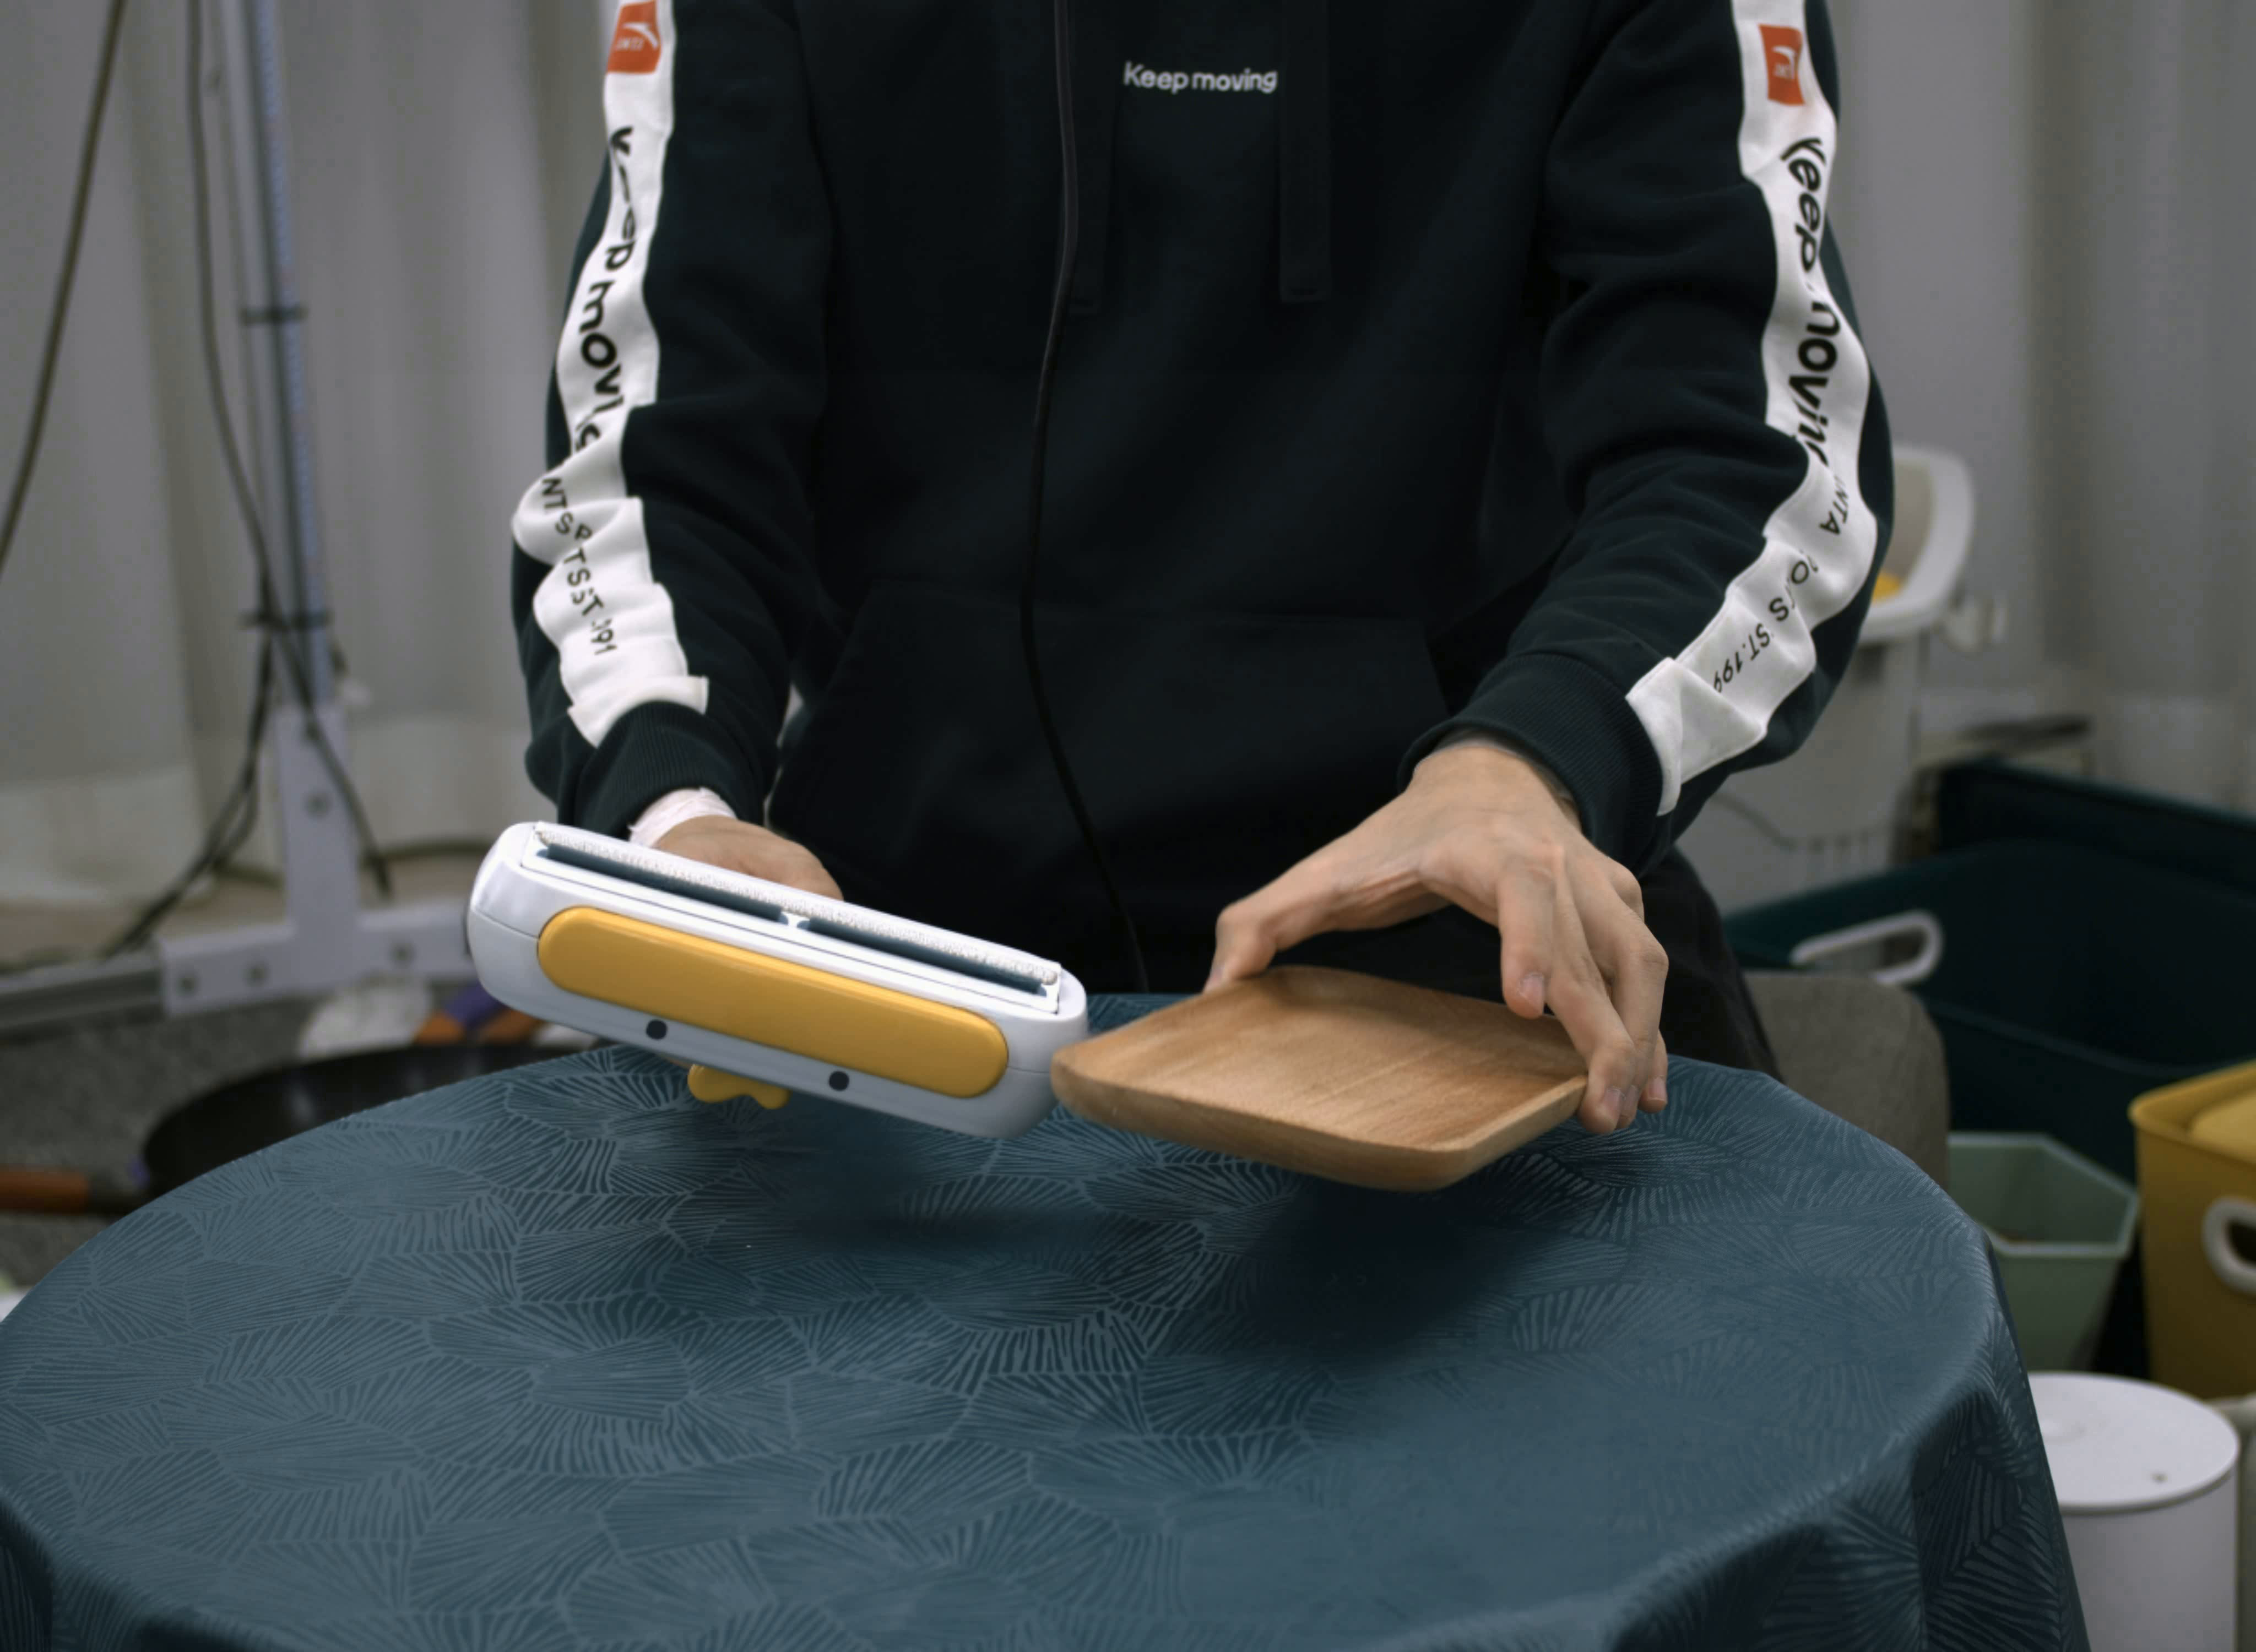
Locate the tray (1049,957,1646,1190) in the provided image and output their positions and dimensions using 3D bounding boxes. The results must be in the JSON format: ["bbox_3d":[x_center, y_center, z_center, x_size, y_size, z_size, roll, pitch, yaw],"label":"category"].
[{"bbox_3d":[0.069,0.073,1.647,0.131,0.023,0.250,16,10,18],"label":"tray"}]

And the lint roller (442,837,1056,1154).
[{"bbox_3d":[-0.117,0.062,1.731,0.192,0.074,0.192,14,-4,2],"label":"lint roller"}]
